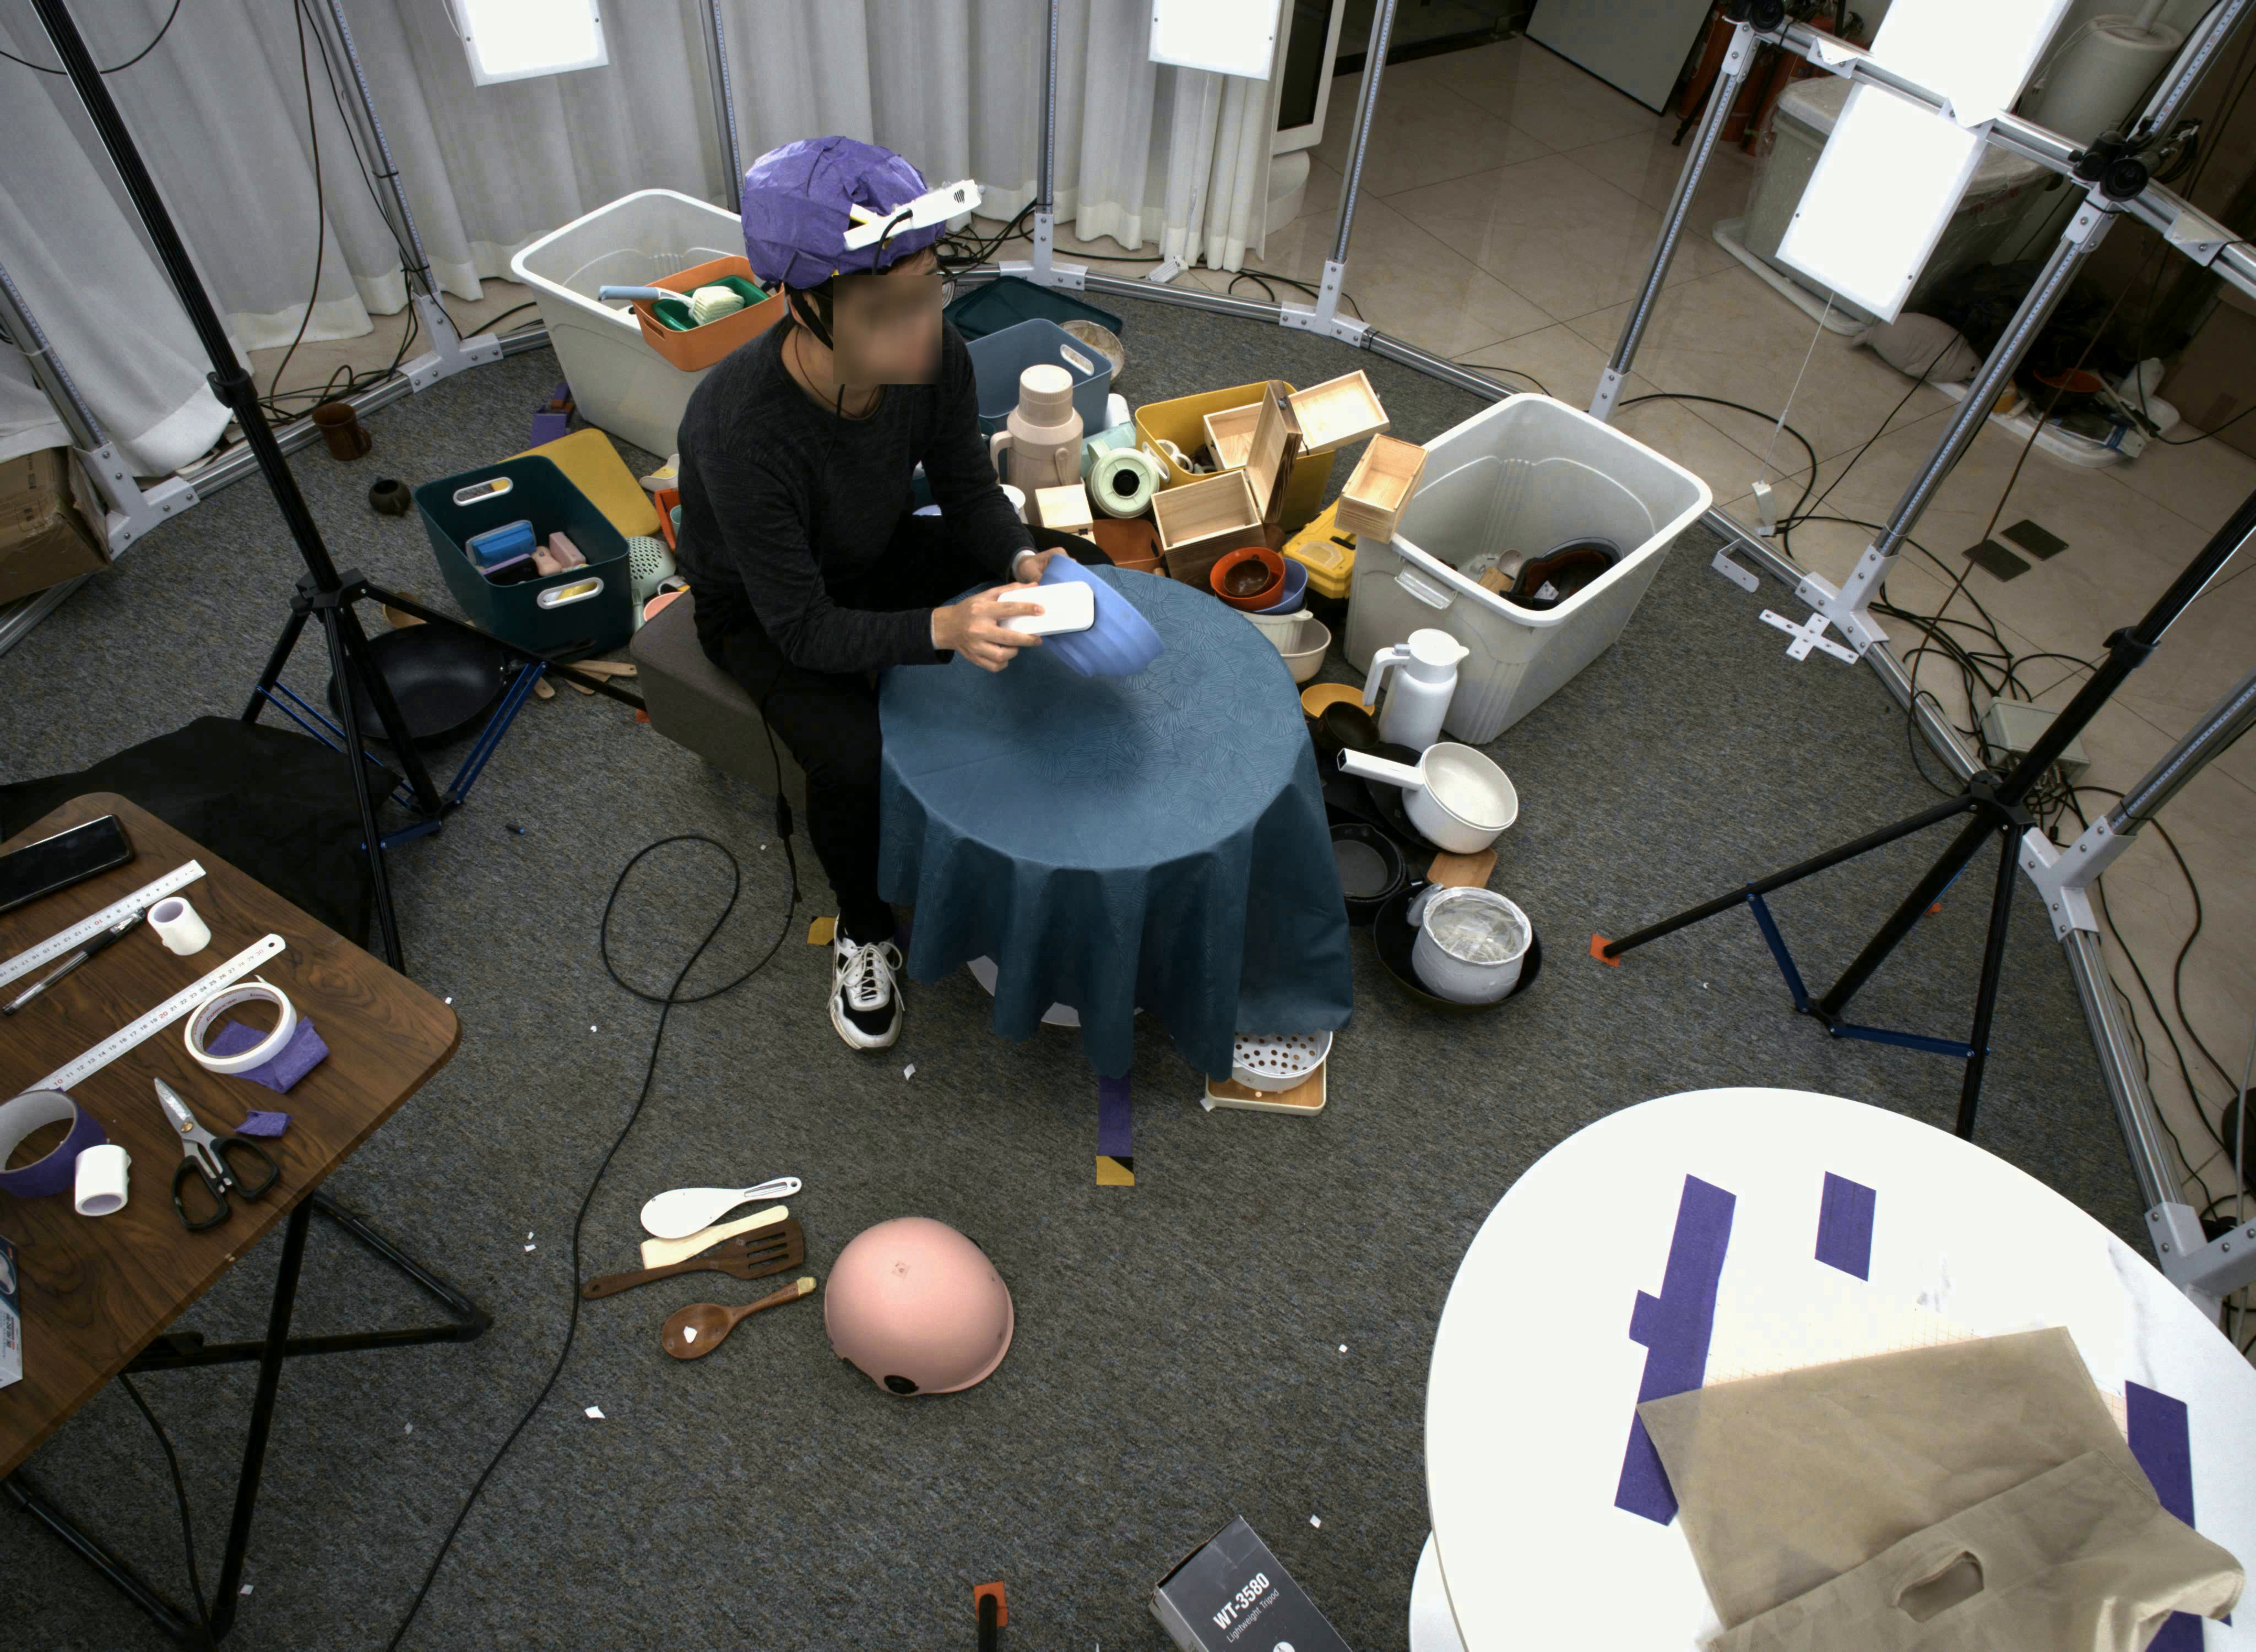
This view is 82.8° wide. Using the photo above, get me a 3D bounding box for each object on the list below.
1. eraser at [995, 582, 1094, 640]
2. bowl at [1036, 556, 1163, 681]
[{"bbox_3d":[-0.107,-0.273,1.633,0.131,0.034,0.064,-4,77,20],"label":"eraser"},{"bbox_3d":[-0.058,-0.261,1.723,0.199,0.193,0.095,39,87,25],"label":"bowl"}]
